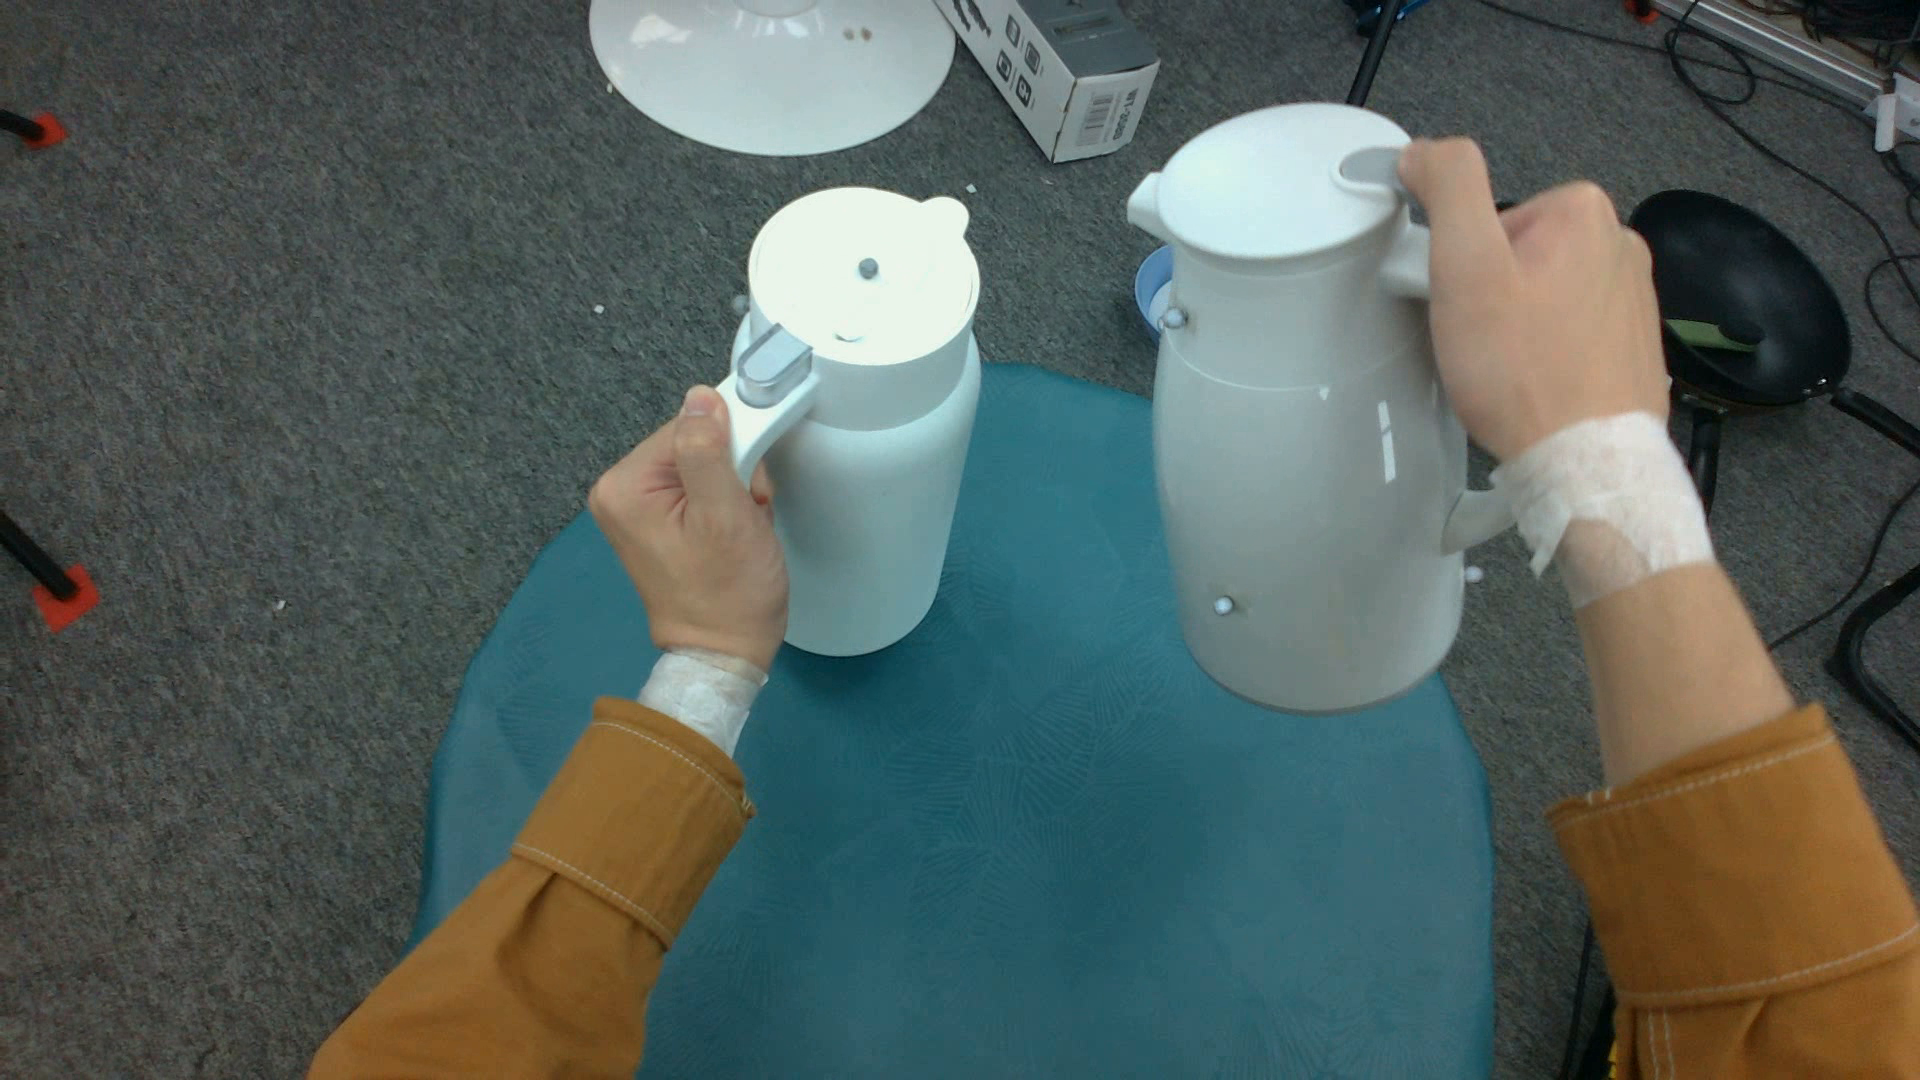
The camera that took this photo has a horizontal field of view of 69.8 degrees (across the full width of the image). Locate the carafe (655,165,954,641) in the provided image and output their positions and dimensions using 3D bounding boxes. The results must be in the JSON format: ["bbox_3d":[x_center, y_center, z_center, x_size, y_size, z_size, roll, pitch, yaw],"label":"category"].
[{"bbox_3d":[-0.077,-0.044,0.686,0.124,0.267,0.173,35,61,10],"label":"carafe"}]

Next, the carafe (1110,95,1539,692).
[{"bbox_3d":[0.151,-0.055,0.574,0.167,0.247,0.133,19,56,29],"label":"carafe"}]
